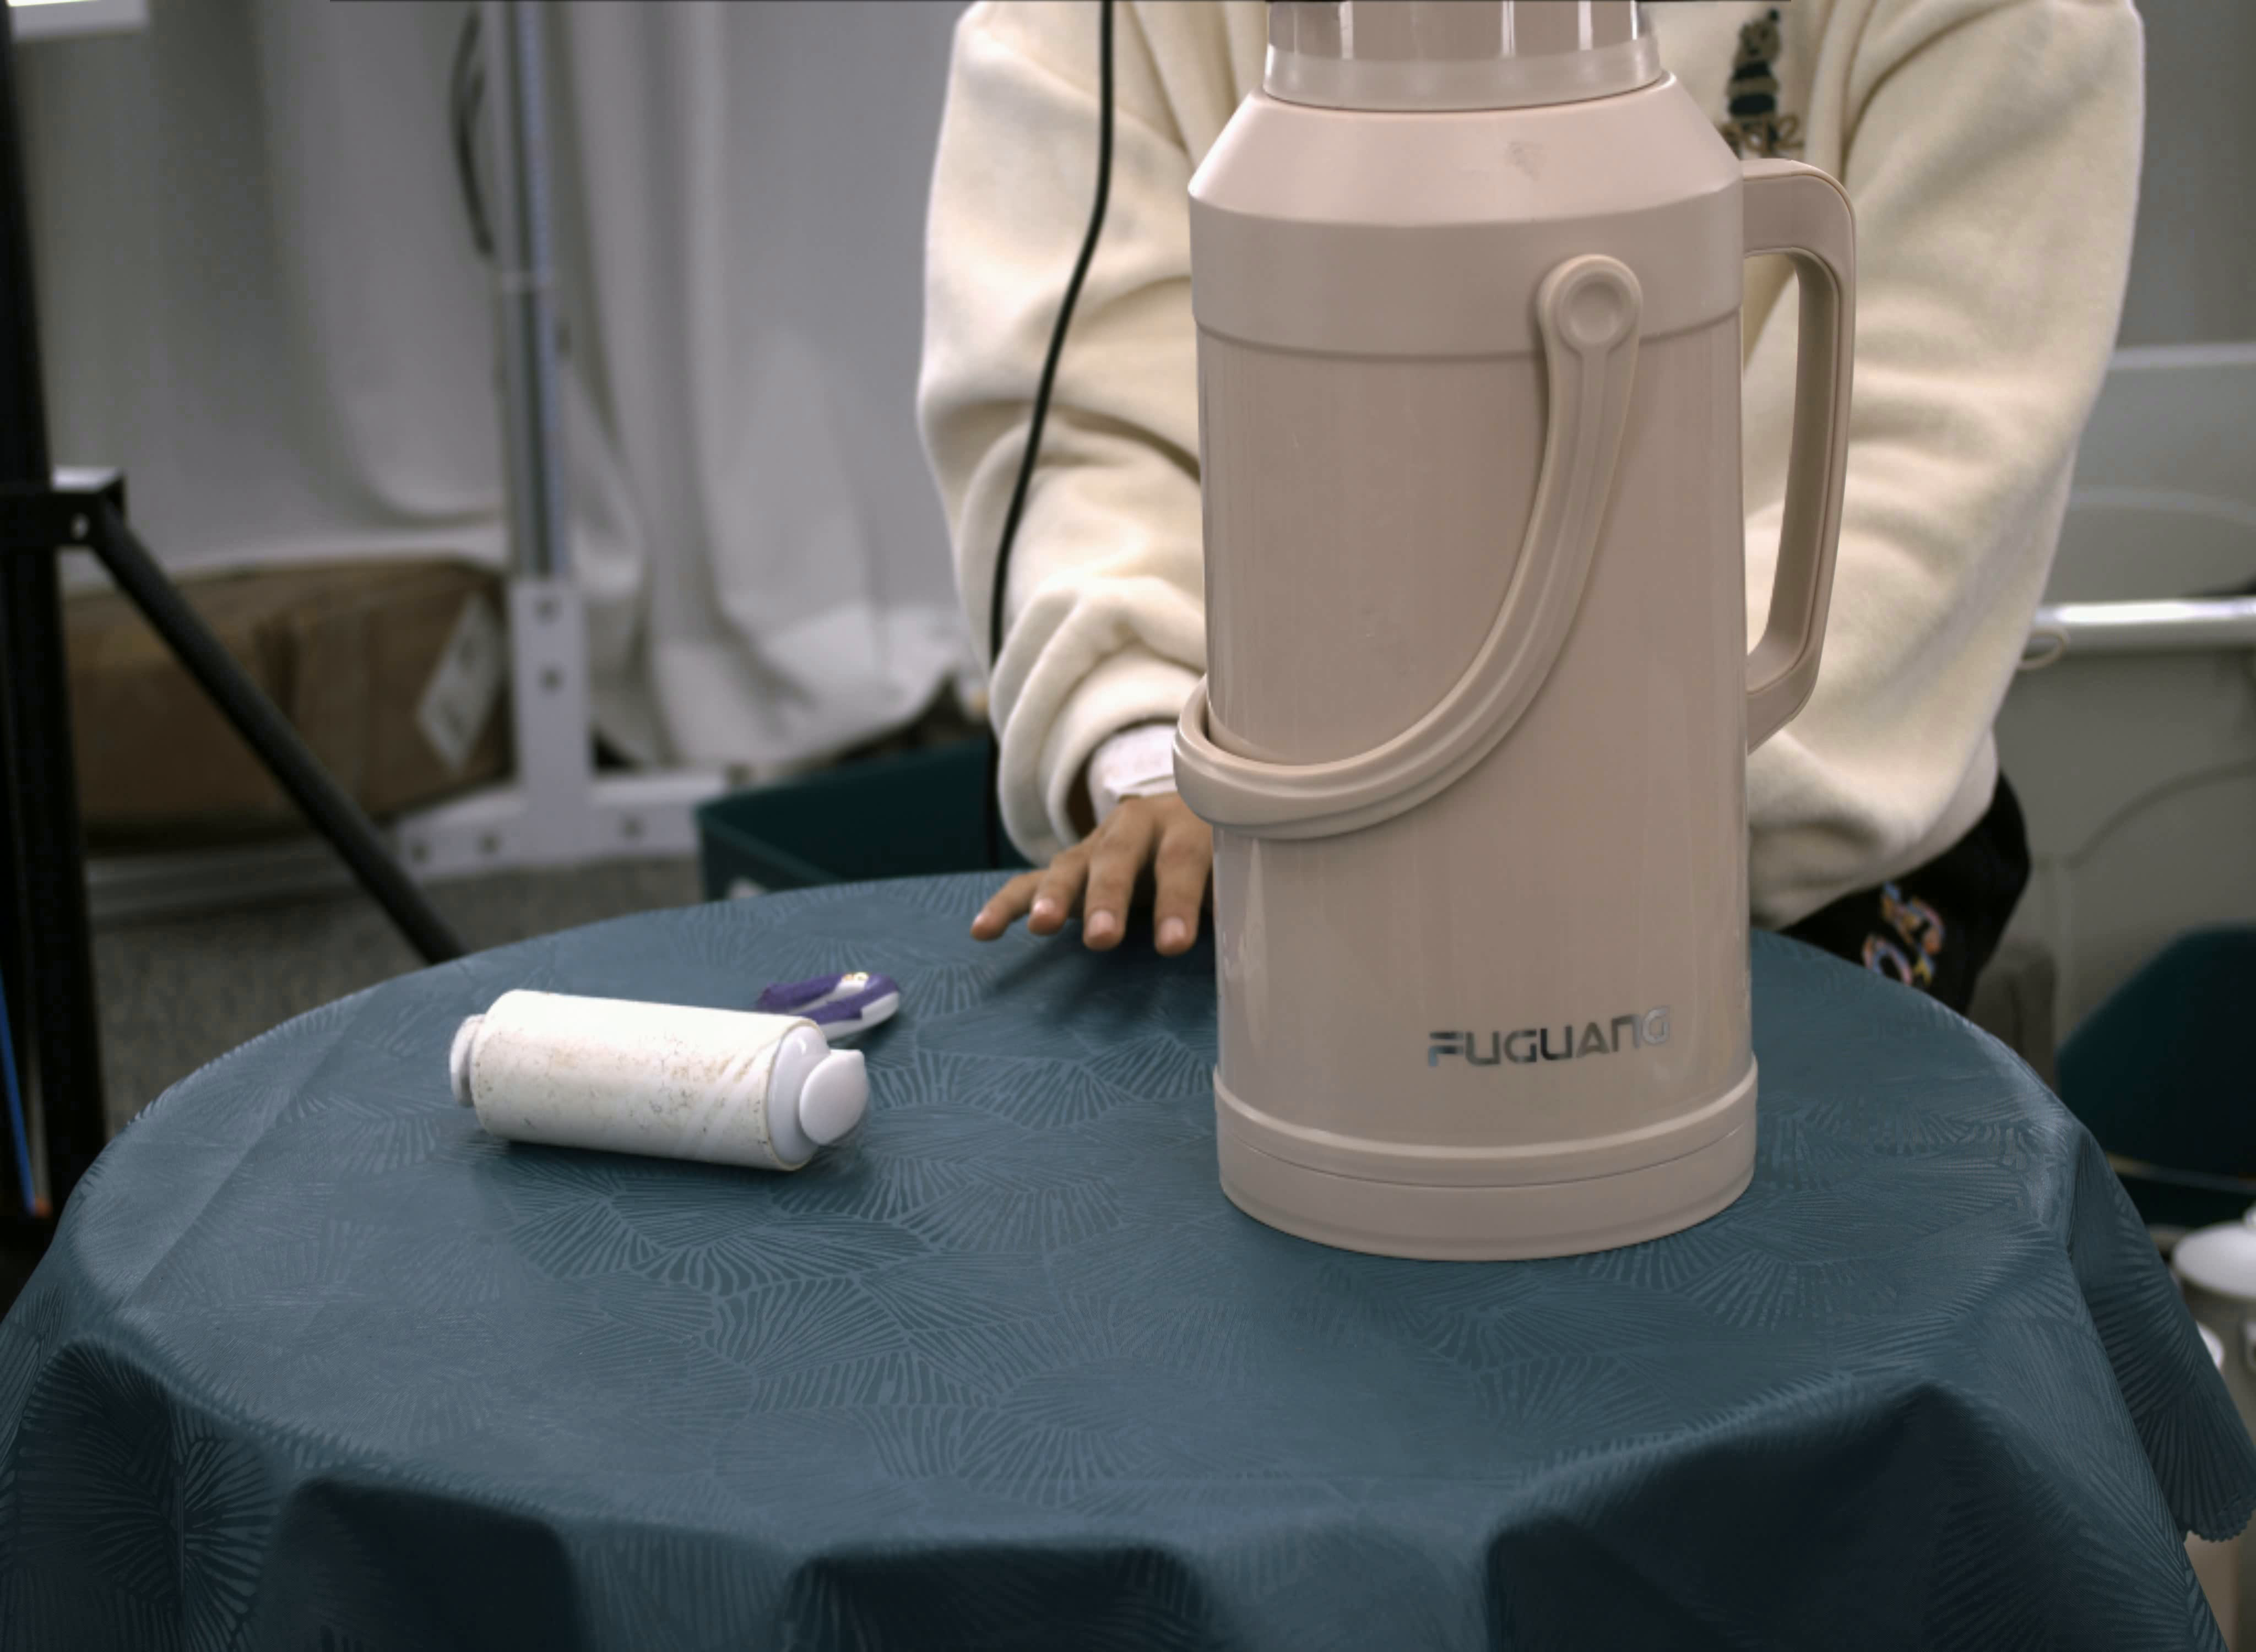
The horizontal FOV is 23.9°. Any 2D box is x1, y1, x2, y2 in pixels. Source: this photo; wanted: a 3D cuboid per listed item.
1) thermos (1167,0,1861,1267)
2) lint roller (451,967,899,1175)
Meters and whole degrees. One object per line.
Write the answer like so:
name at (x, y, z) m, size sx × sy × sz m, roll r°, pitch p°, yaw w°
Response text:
thermos at (0.111, -0.090, 1.513) m, size 0.203 × 0.406 × 0.178 m, roll -7°, pitch 15°, yaw -18°
lint roller at (-0.116, 0.059, 1.663) m, size 0.135 × 0.050 × 0.178 m, roll 4°, pitch 19°, yaw 26°
